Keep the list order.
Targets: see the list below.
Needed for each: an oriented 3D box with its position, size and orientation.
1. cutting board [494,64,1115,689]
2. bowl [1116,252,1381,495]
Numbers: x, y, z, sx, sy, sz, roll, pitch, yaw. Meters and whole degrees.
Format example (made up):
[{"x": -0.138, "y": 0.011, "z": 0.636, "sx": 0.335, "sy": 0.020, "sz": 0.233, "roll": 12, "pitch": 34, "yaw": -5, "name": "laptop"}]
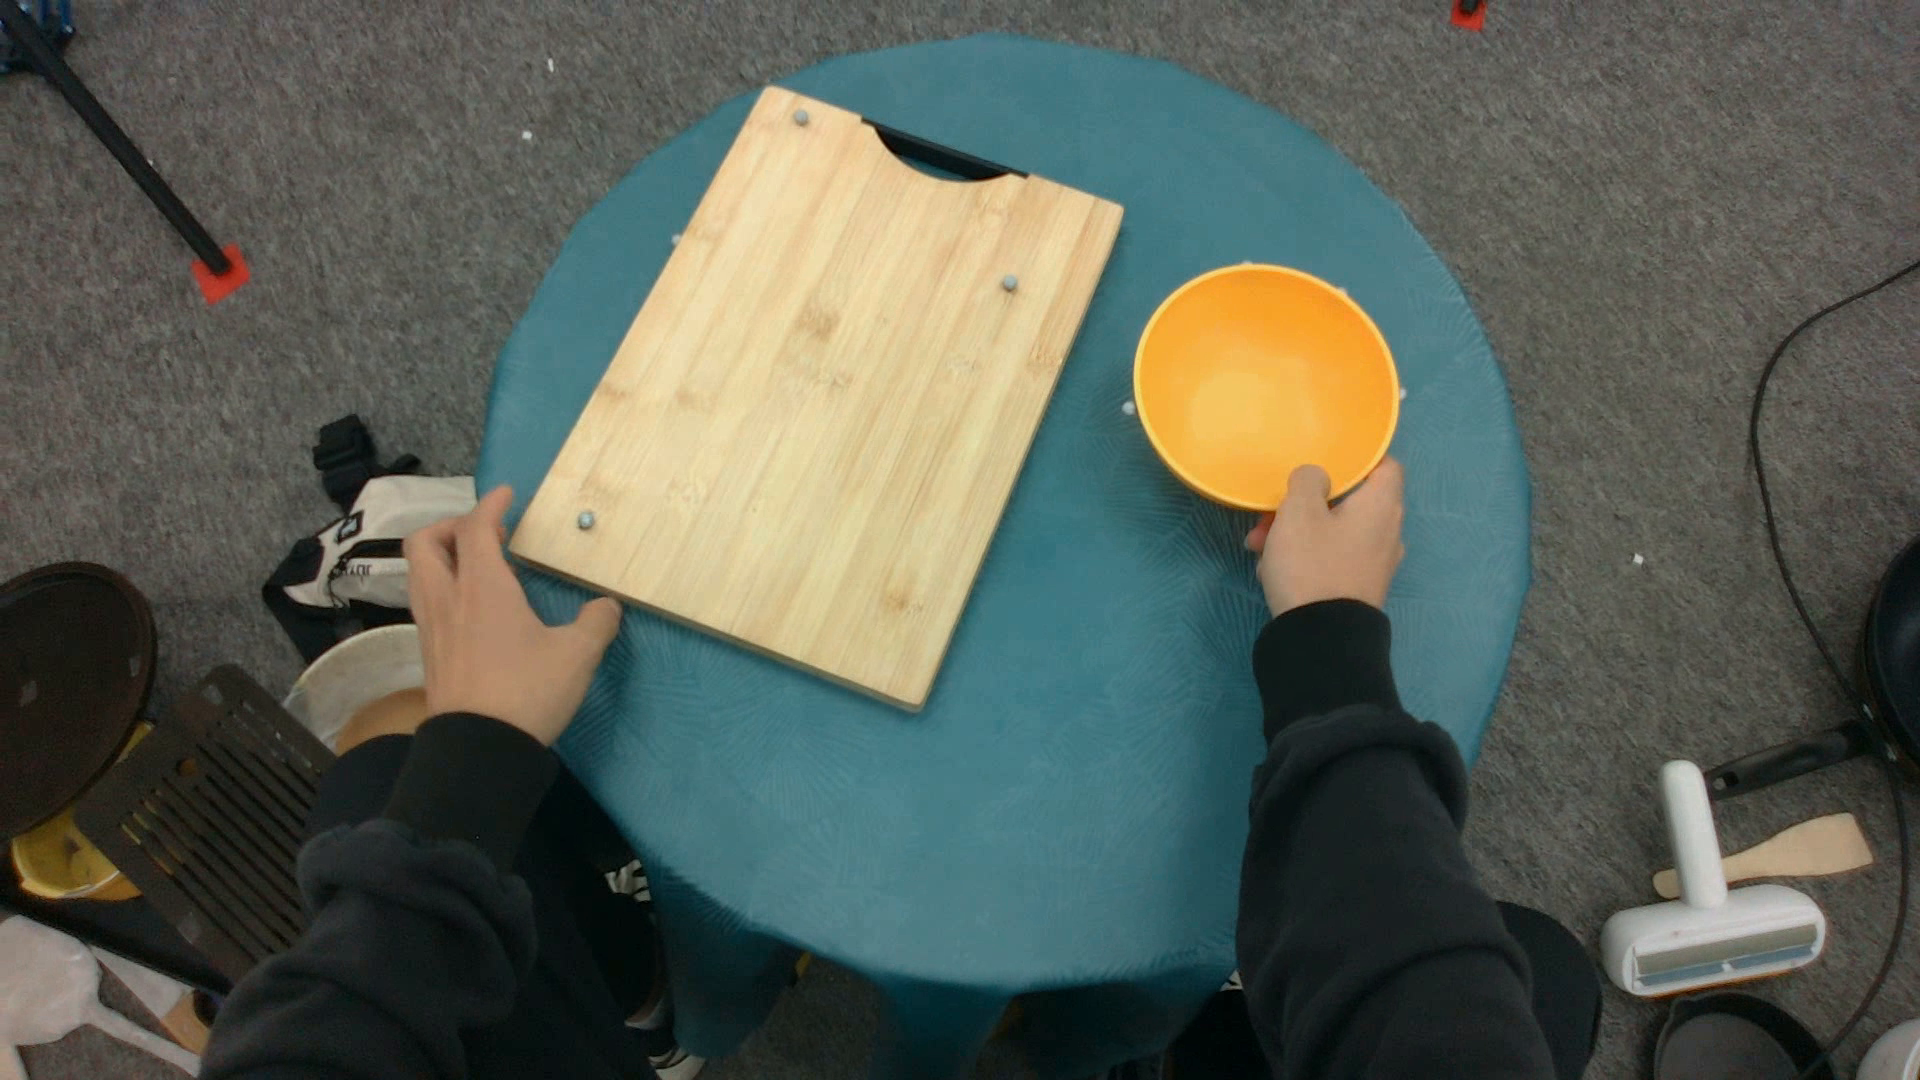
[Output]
[{"x": -0.079, "y": -0.110, "z": 0.799, "sx": 0.250, "sy": 0.023, "sz": 0.350, "roll": 19, "pitch": 67, "yaw": 5, "name": "cutting board"}, {"x": 0.157, "y": -0.085, "z": 0.777, "sx": 0.145, "sy": 0.060, "sz": 0.145, "roll": 0, "pitch": 73, "yaw": -1, "name": "bowl"}]
